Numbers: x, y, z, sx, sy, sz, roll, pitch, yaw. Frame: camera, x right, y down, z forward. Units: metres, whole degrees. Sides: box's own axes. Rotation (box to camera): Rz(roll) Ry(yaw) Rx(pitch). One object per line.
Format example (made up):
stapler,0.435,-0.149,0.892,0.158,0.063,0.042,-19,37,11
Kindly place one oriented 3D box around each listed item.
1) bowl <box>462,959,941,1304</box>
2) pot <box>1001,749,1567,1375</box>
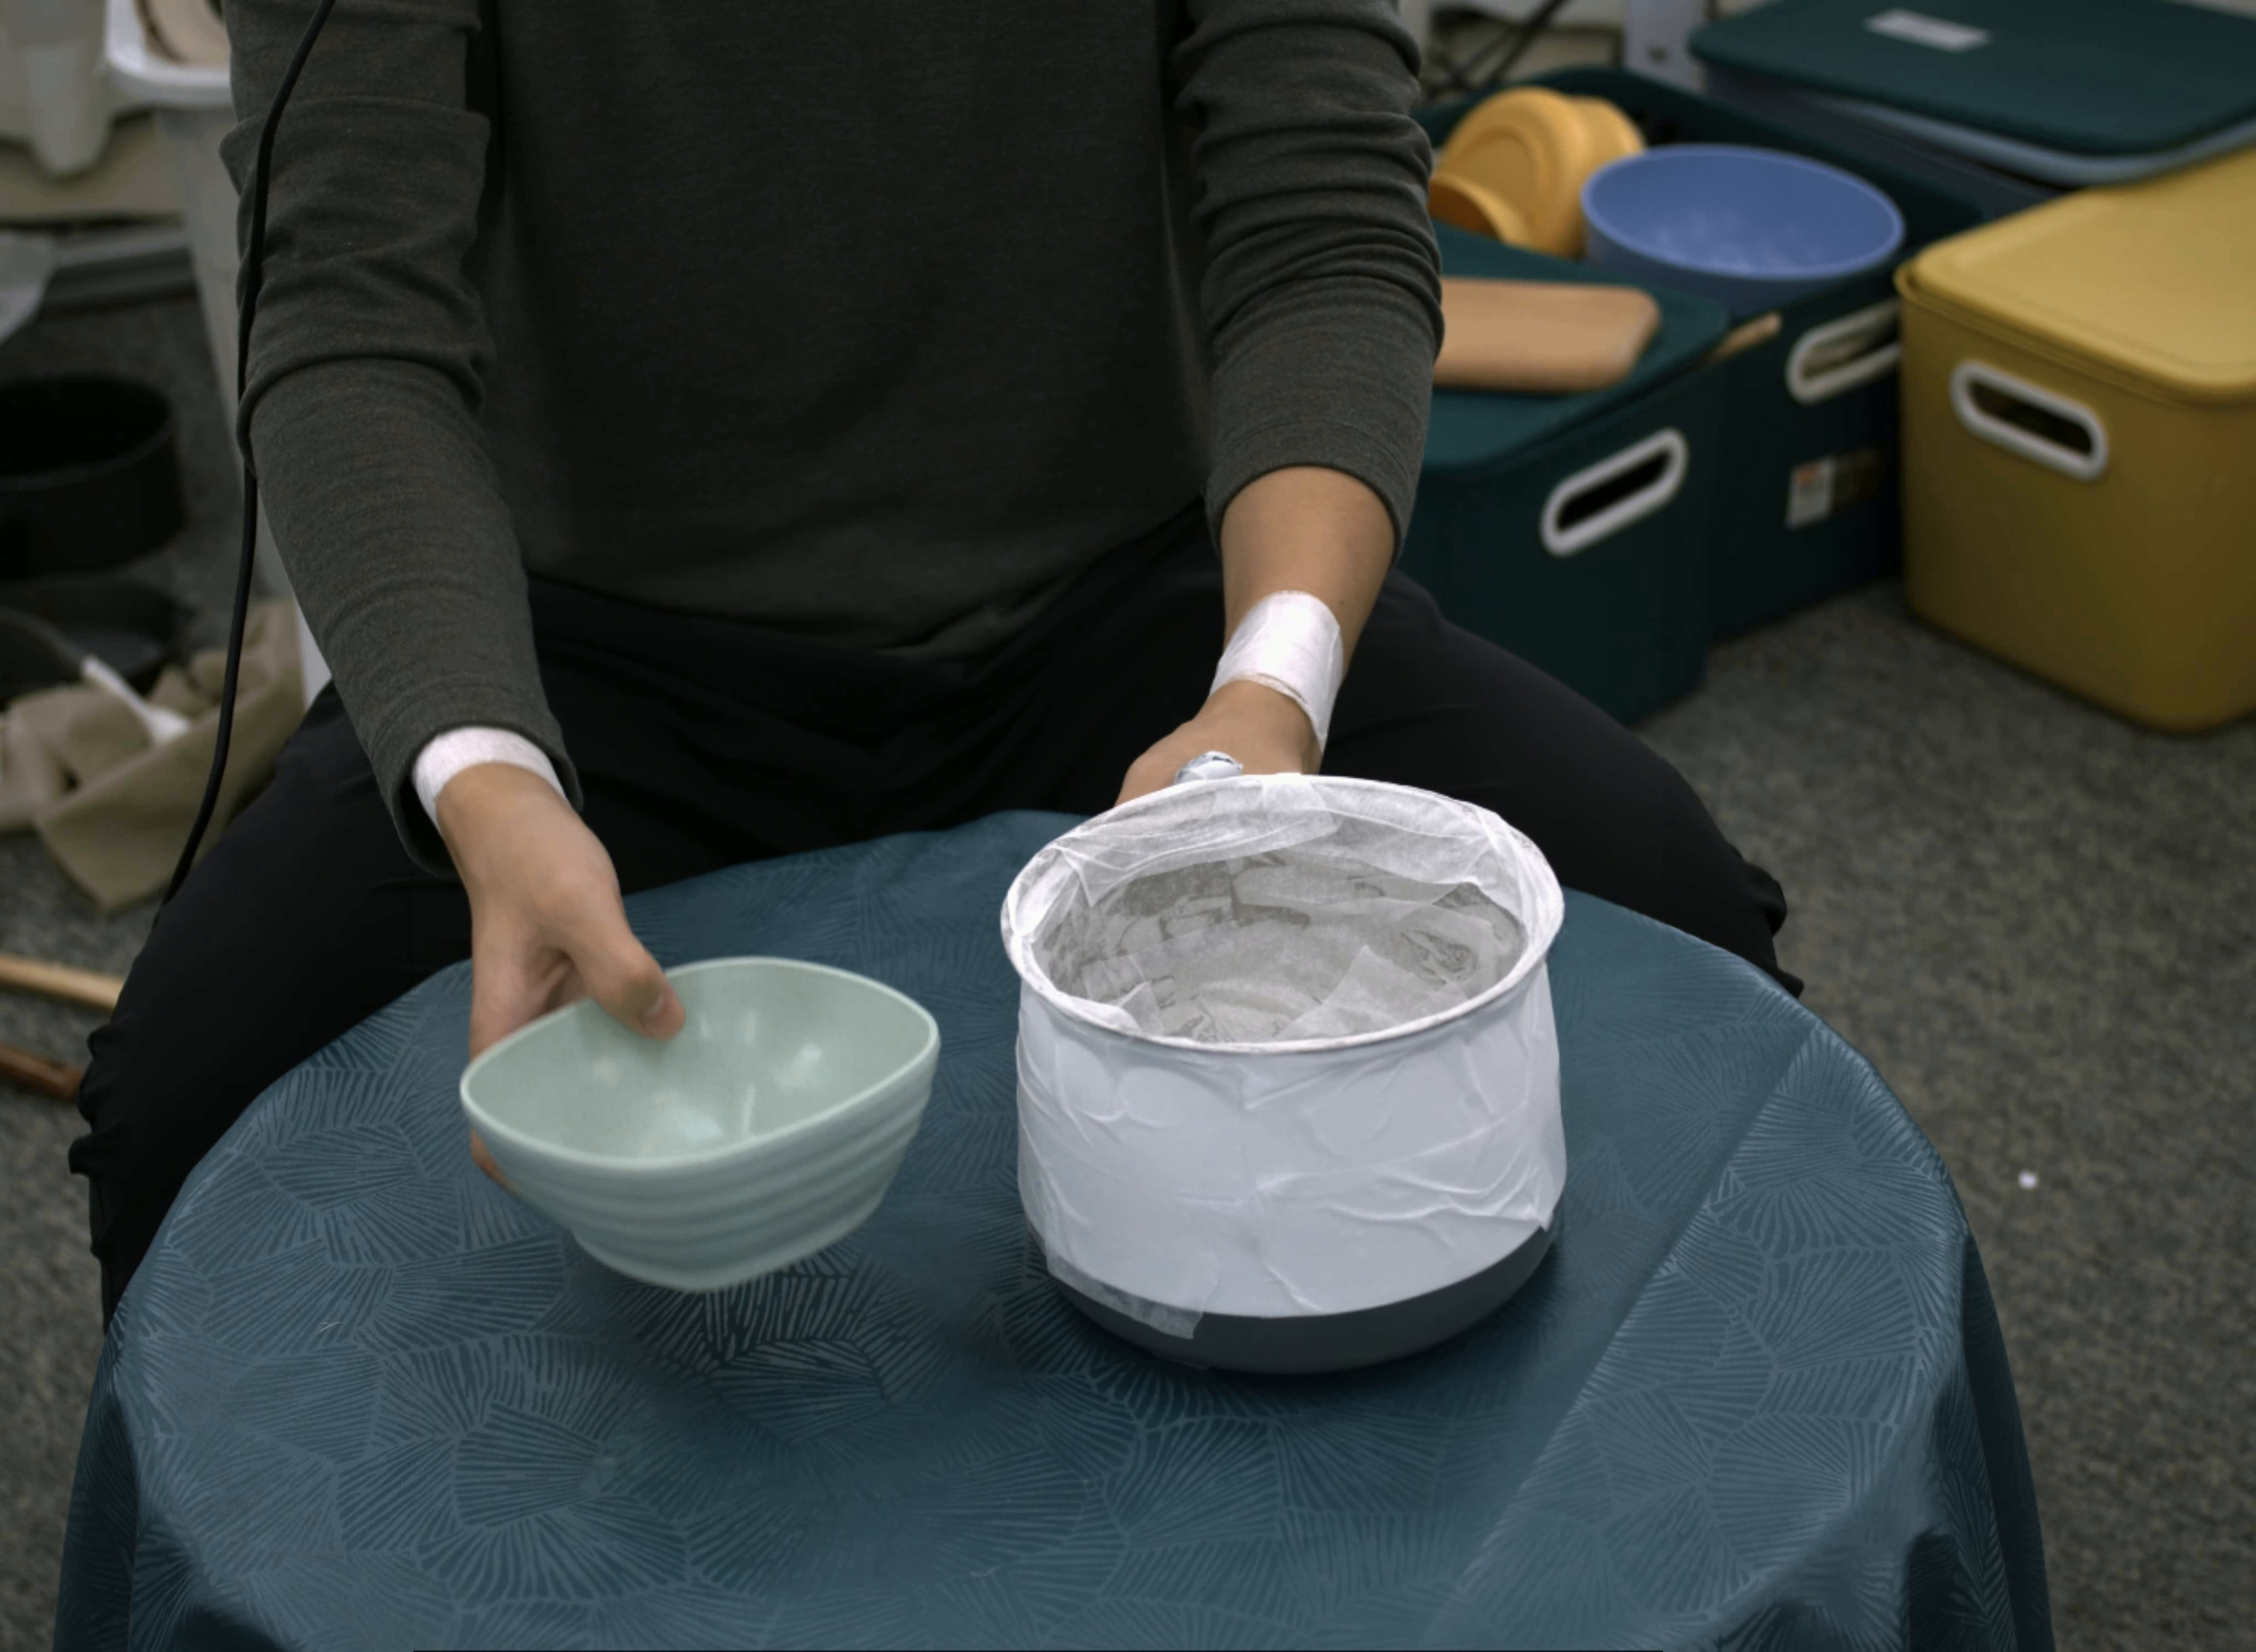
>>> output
bowl,-0.129,0.100,1.749,0.150,0.058,0.153,-6,23,3
pot,0.045,0.068,1.813,0.178,0.135,0.236,-8,27,-11
